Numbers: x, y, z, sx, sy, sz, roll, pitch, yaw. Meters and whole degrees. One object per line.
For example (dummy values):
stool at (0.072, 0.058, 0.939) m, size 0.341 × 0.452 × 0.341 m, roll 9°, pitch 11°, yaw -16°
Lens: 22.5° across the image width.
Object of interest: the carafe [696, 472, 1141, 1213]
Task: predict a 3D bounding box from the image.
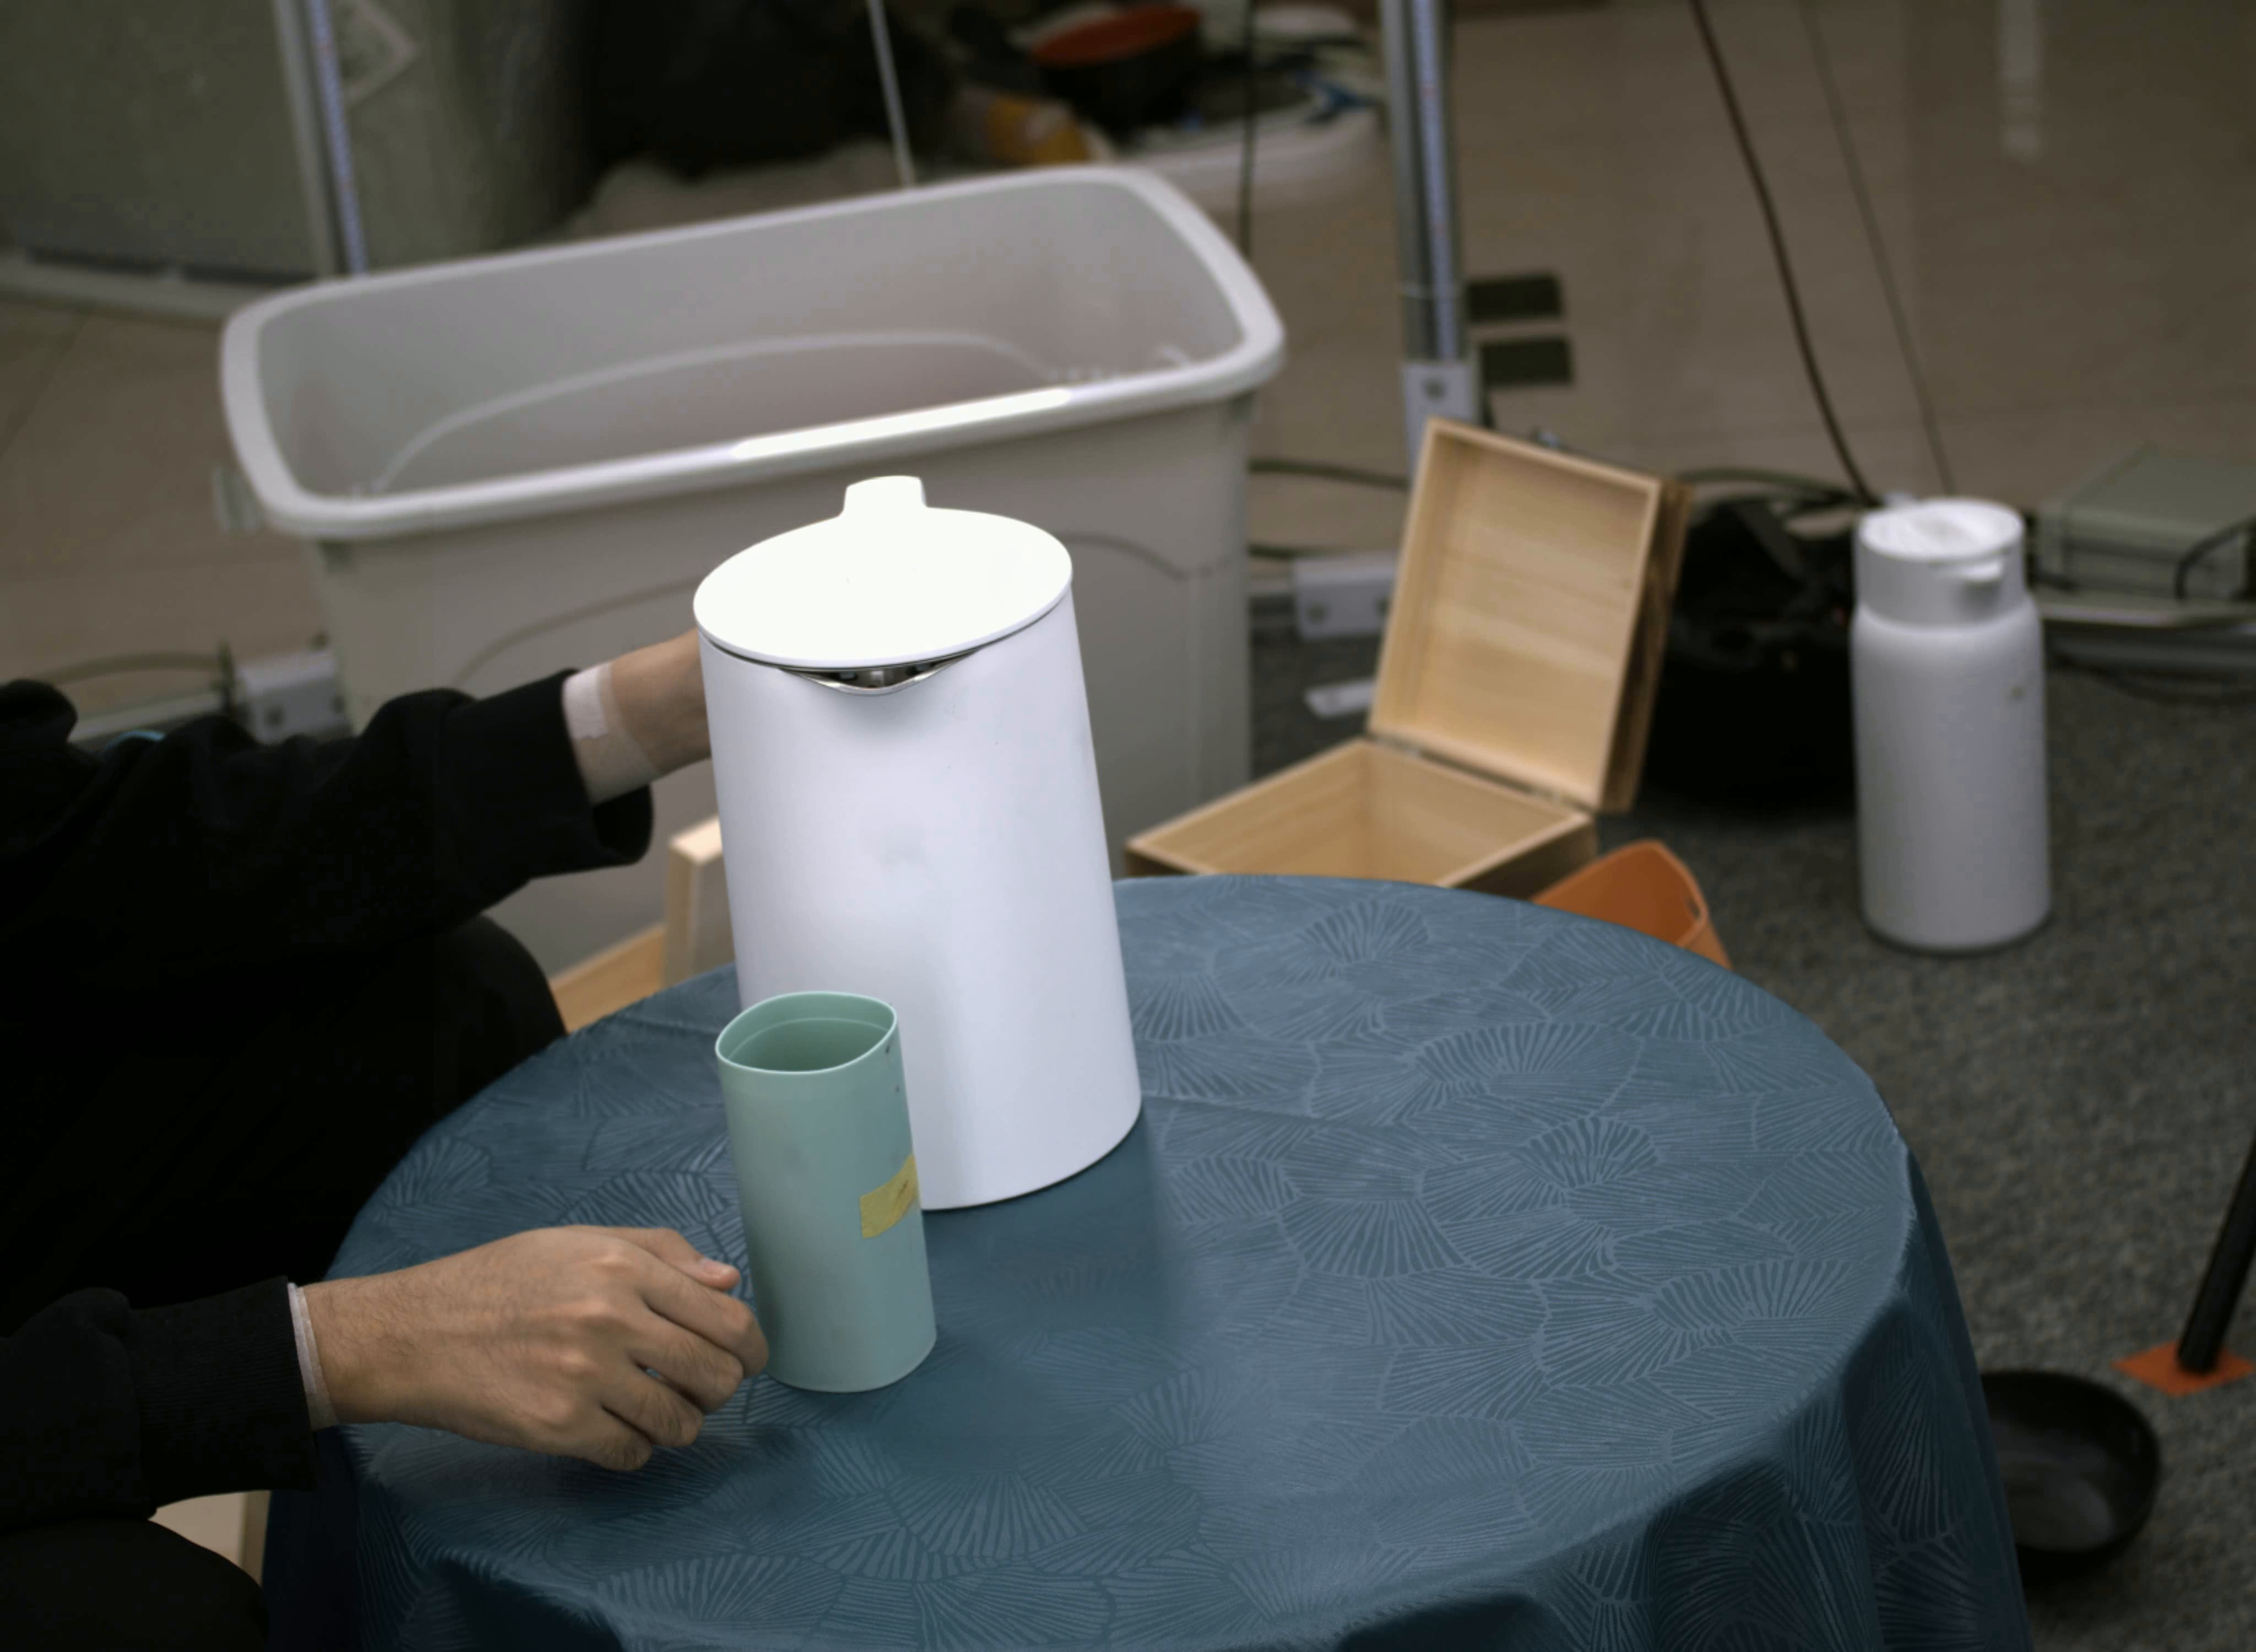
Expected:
carafe at (-0.080, 0.000, 2.183) m, size 0.152 × 0.244 × 0.210 m, roll -5°, pitch 26°, yaw 1°

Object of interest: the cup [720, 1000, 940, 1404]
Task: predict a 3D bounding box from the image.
cup at (-0.107, 0.134, 2.031) m, size 0.066 × 0.134 × 0.066 m, roll -5°, pitch 27°, yaw 2°
